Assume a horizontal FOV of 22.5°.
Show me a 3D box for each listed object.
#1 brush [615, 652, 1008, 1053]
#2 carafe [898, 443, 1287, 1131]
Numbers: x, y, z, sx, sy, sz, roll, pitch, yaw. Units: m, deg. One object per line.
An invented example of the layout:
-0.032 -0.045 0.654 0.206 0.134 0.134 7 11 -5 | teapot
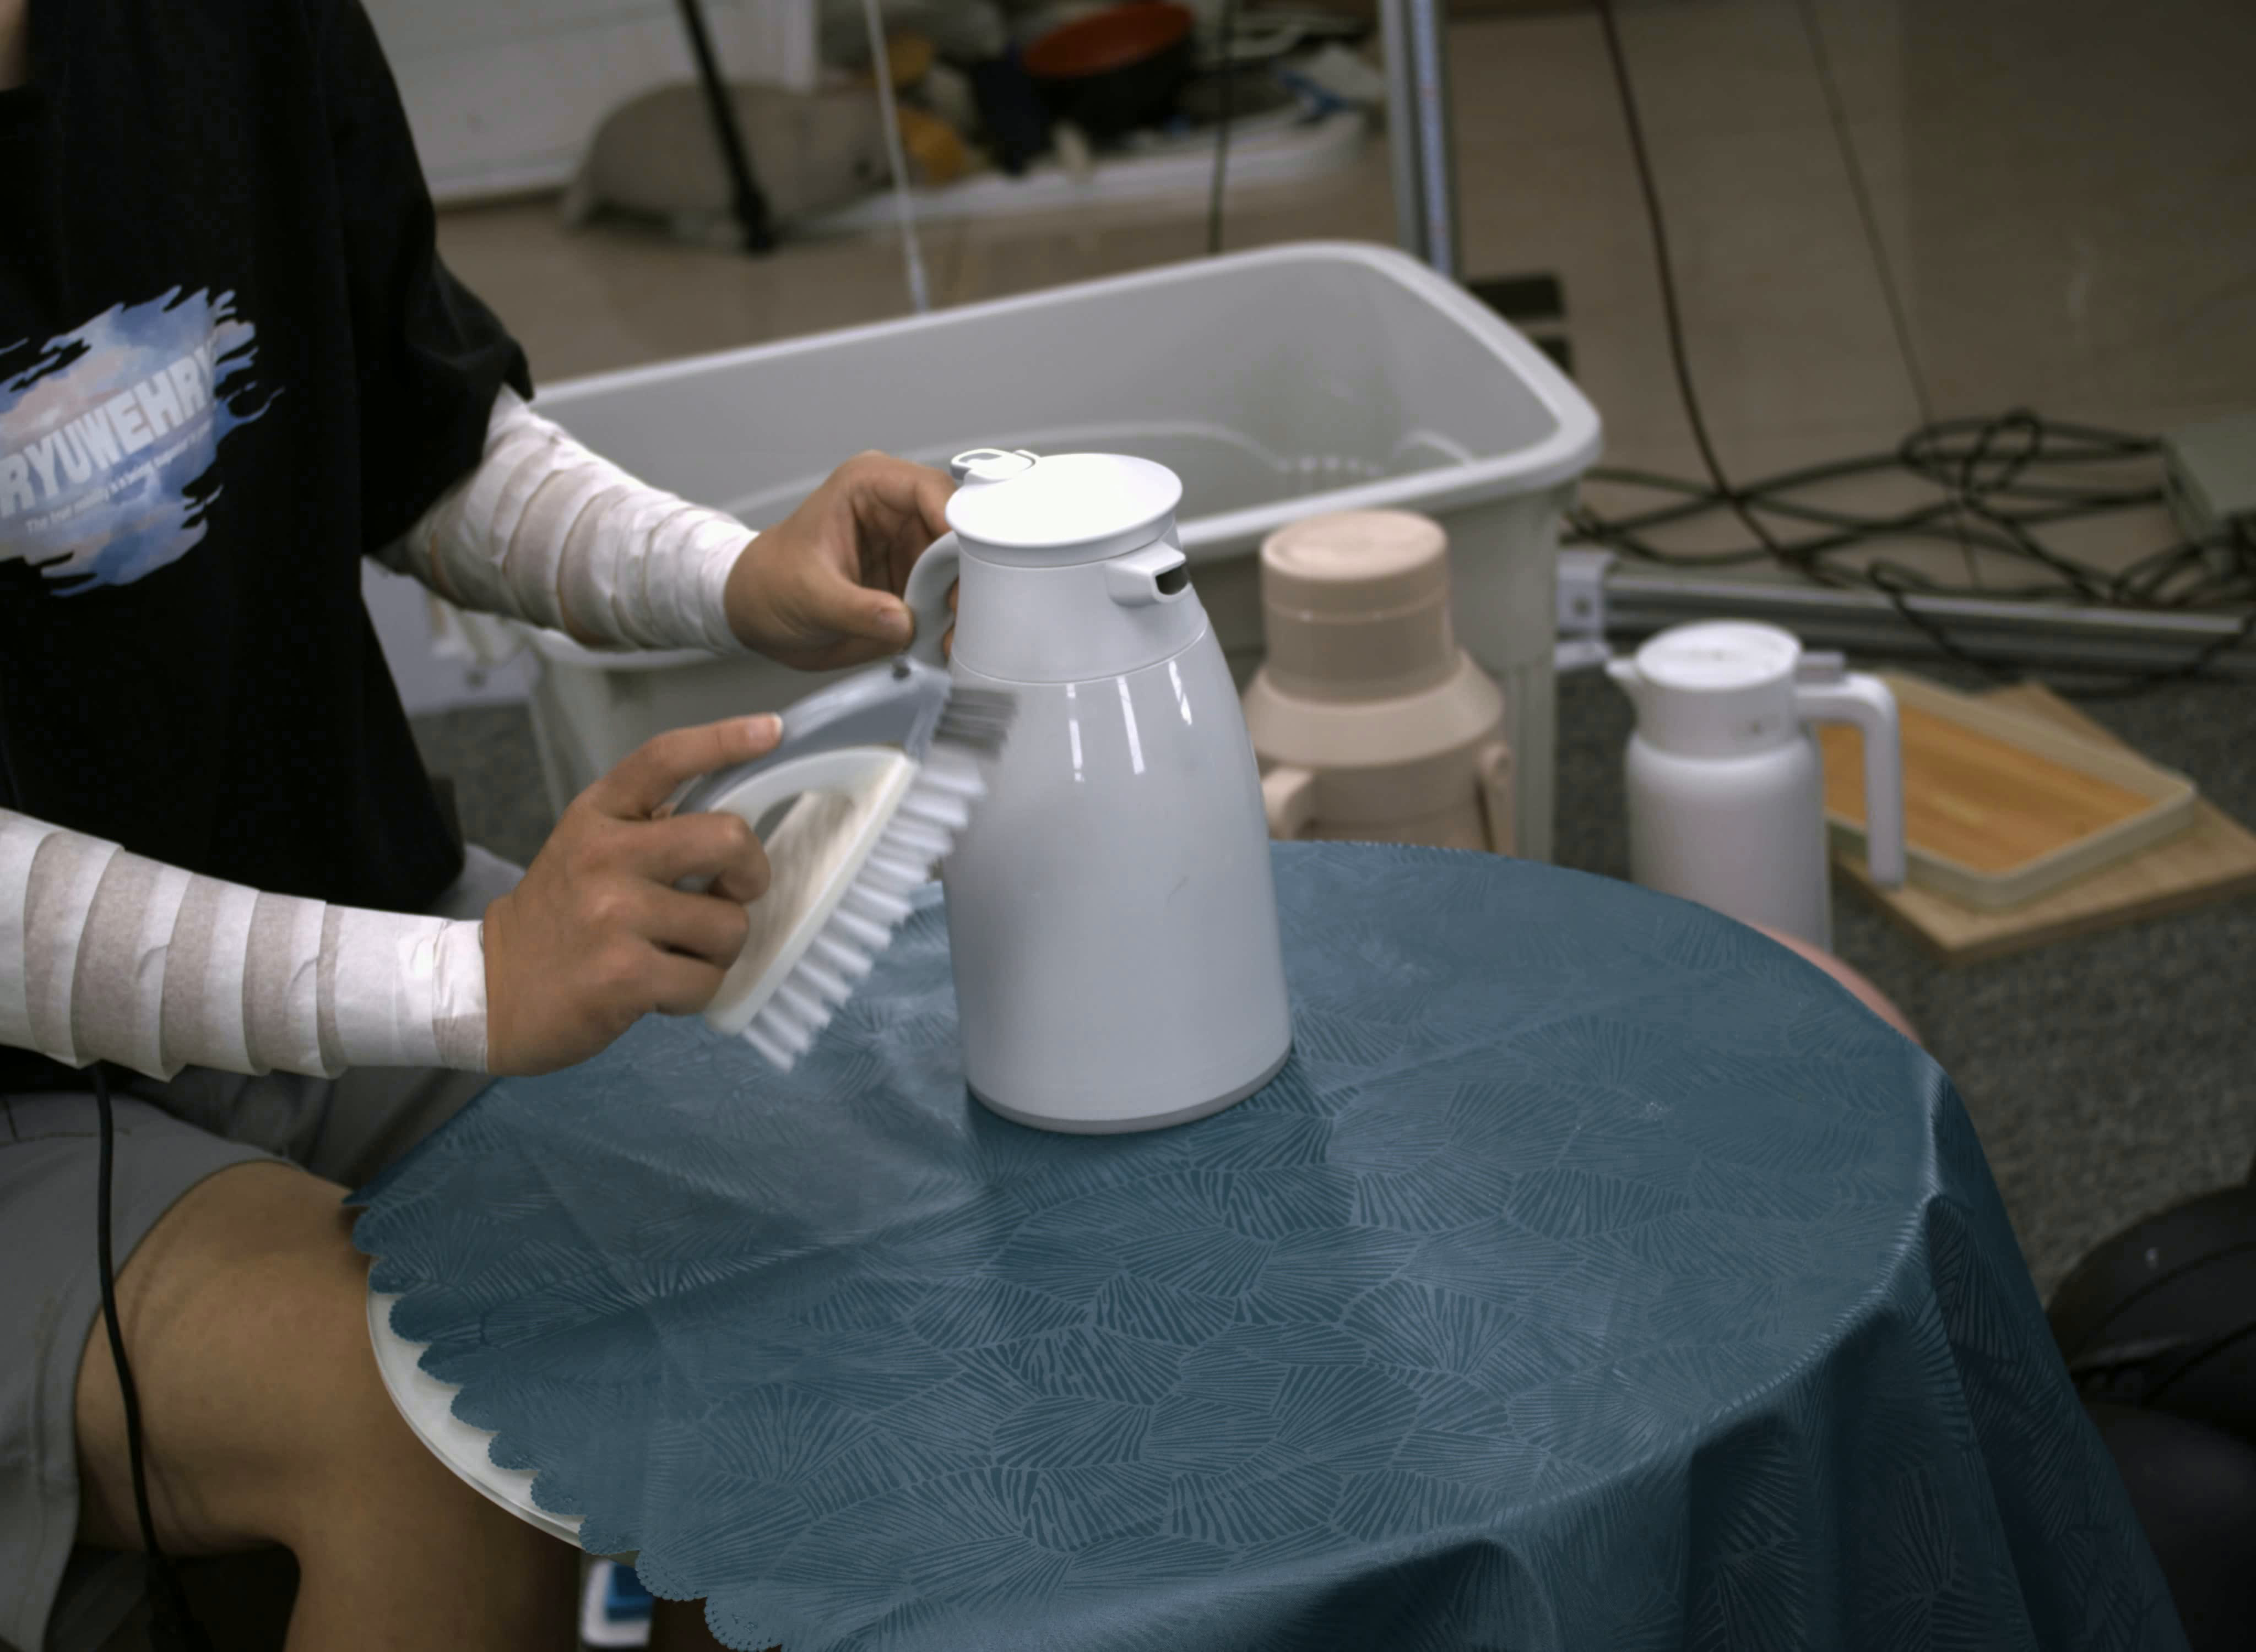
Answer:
-0.124 -0.003 2.093 0.095 0.177 0.060 22 28 -34 | brush
-0.027 -0.025 2.208 0.131 0.252 0.166 -26 31 -34 | carafe
